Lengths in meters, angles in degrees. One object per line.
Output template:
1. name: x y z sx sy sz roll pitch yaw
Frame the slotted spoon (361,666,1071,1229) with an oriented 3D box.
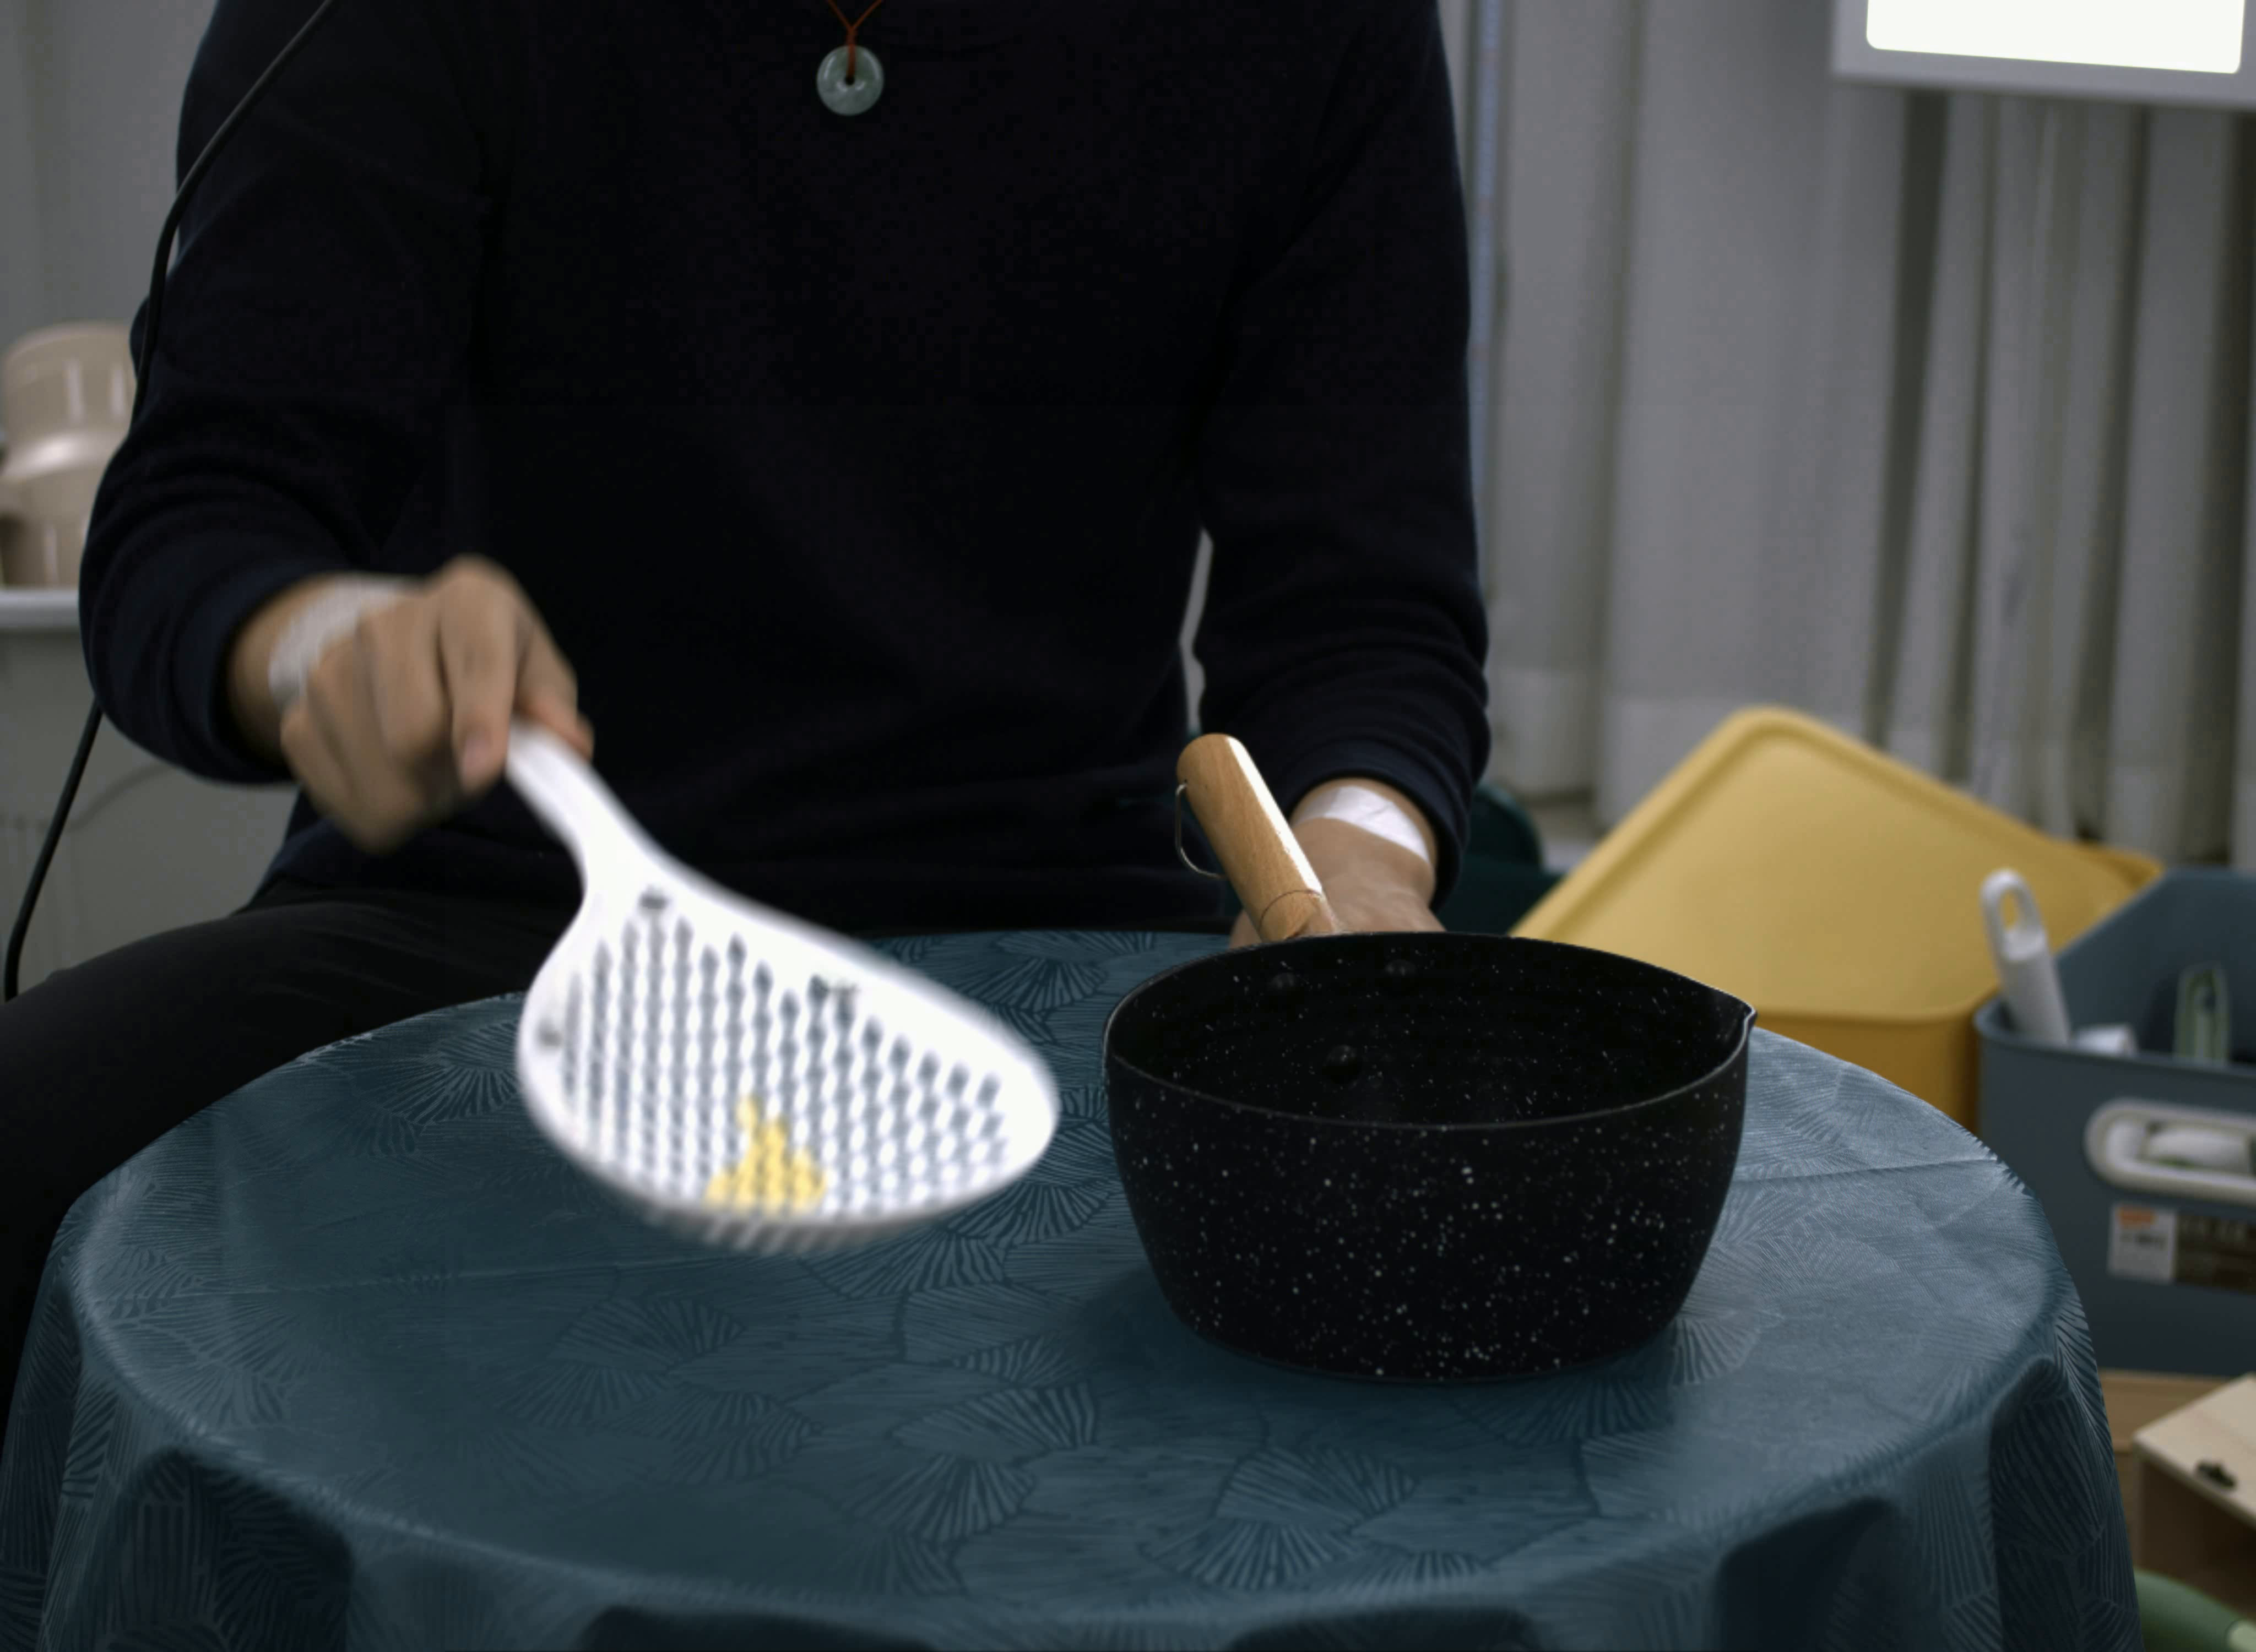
1. slotted spoon: -0.134 0.019 1.417 0.137 0.051 0.343 -7 34 -27

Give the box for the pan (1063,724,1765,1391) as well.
1. pan: 0.066 0.064 1.594 0.208 0.109 0.339 -5 18 -14
